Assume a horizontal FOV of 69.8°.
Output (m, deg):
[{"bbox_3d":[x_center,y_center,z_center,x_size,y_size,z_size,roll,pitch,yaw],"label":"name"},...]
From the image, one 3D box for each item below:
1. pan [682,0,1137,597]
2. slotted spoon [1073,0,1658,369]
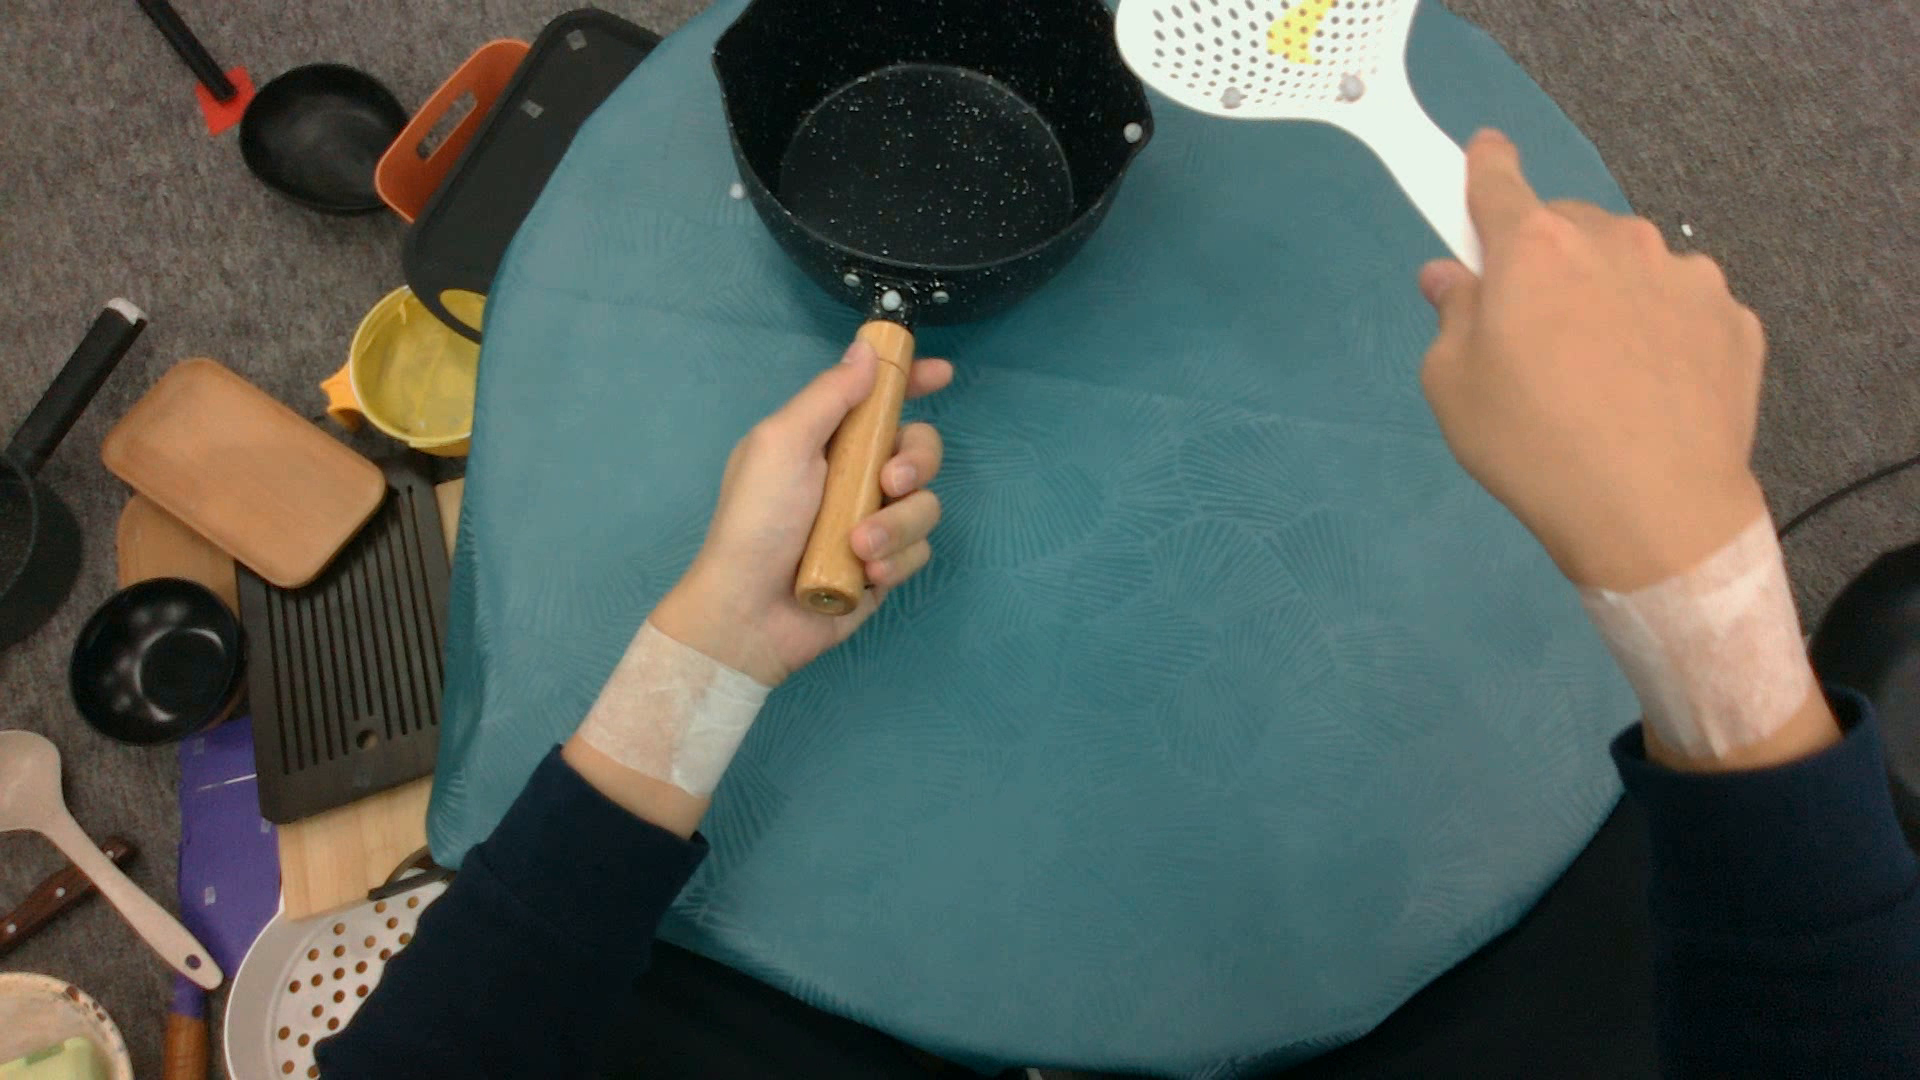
[{"bbox_3d":[-0.034,-0.123,0.615,0.207,0.108,0.344,9,69,-3],"label":"pan"},{"bbox_3d":[0.142,-0.171,0.518,0.136,0.050,0.349,-37,40,16],"label":"slotted spoon"}]
